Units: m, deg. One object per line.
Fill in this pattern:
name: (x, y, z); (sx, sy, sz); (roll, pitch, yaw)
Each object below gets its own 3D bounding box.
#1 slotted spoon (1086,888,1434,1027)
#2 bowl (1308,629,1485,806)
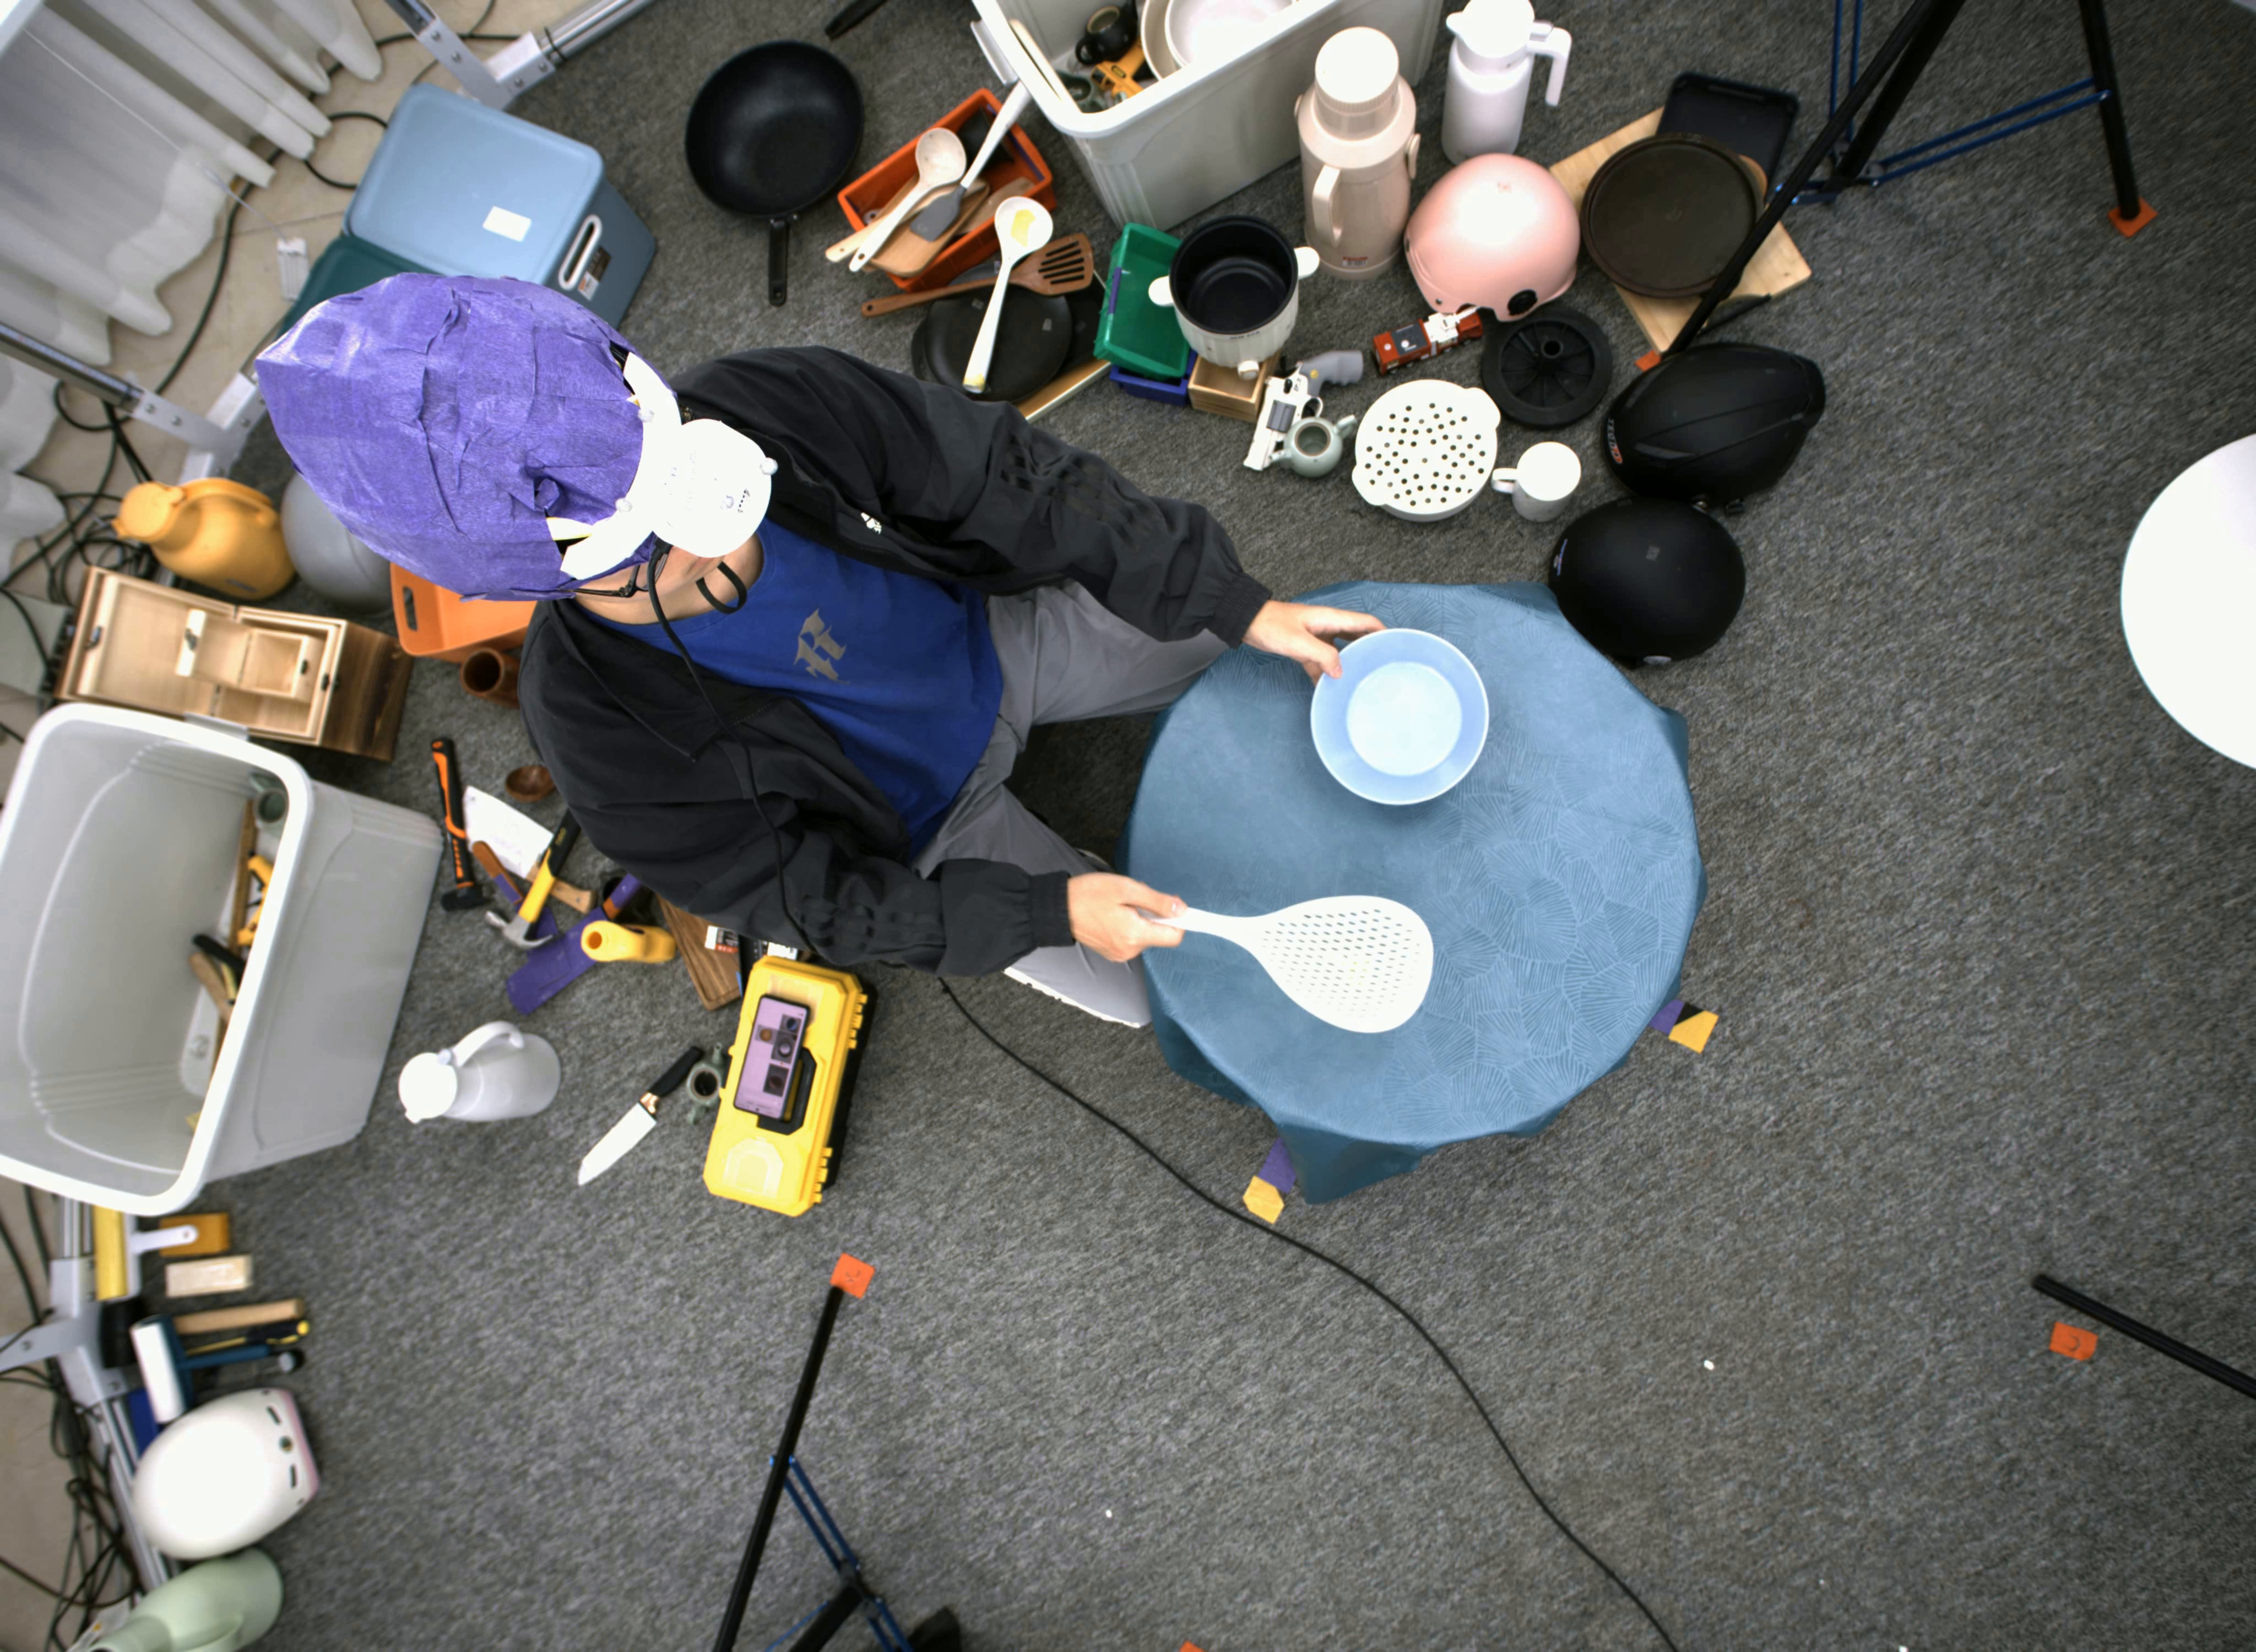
slotted spoon: (0.122, 0.108, 1.355); (0.348, 0.051, 0.135); (12, 73, 14)
bowl: (0.275, -0.110, 1.396); (0.177, 0.070, 0.176); (1, 95, 18)
